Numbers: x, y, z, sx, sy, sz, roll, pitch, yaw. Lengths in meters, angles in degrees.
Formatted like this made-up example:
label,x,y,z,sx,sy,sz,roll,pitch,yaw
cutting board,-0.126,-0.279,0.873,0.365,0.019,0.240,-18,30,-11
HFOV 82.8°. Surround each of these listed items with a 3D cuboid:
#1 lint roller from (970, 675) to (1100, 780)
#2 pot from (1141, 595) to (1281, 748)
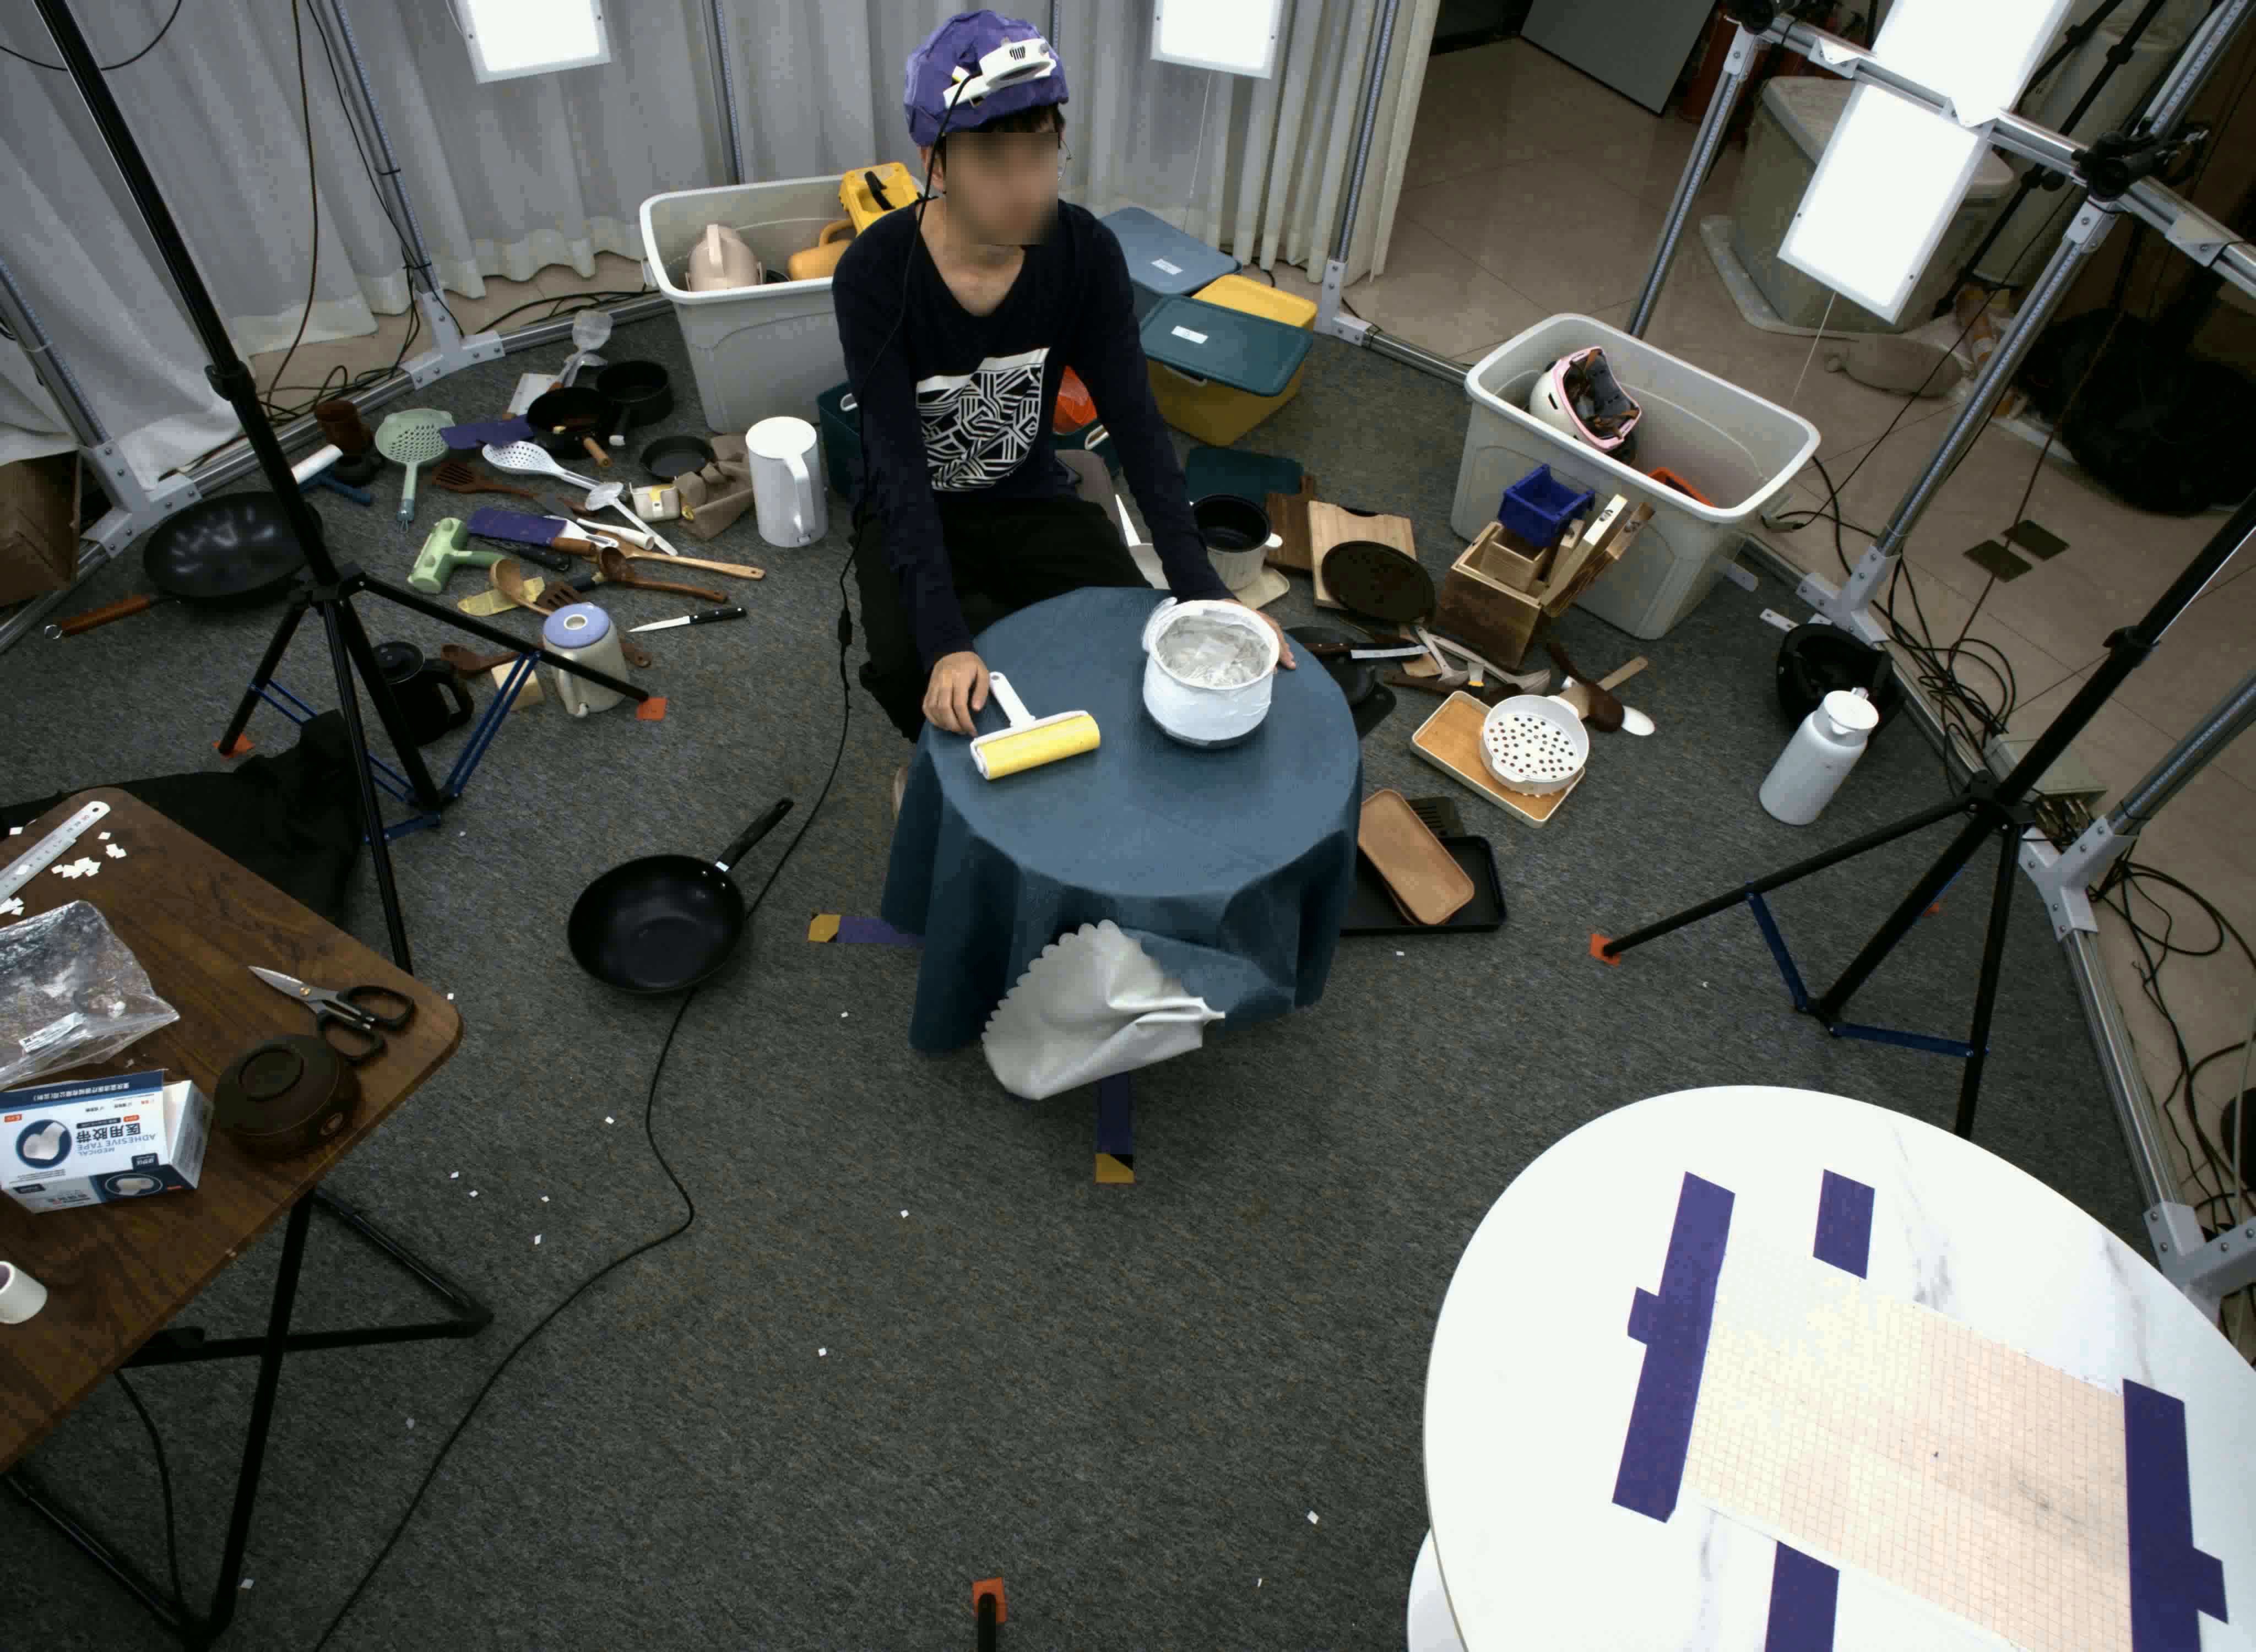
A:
label,x,y,z,sx,sy,sz,roll,pitch,yaw
lint roller,-0.152,-0.156,1.761,0.174,0.050,0.196,-18,54,-20
pot,0.096,-0.224,1.777,0.179,0.133,0.238,-25,56,-25
